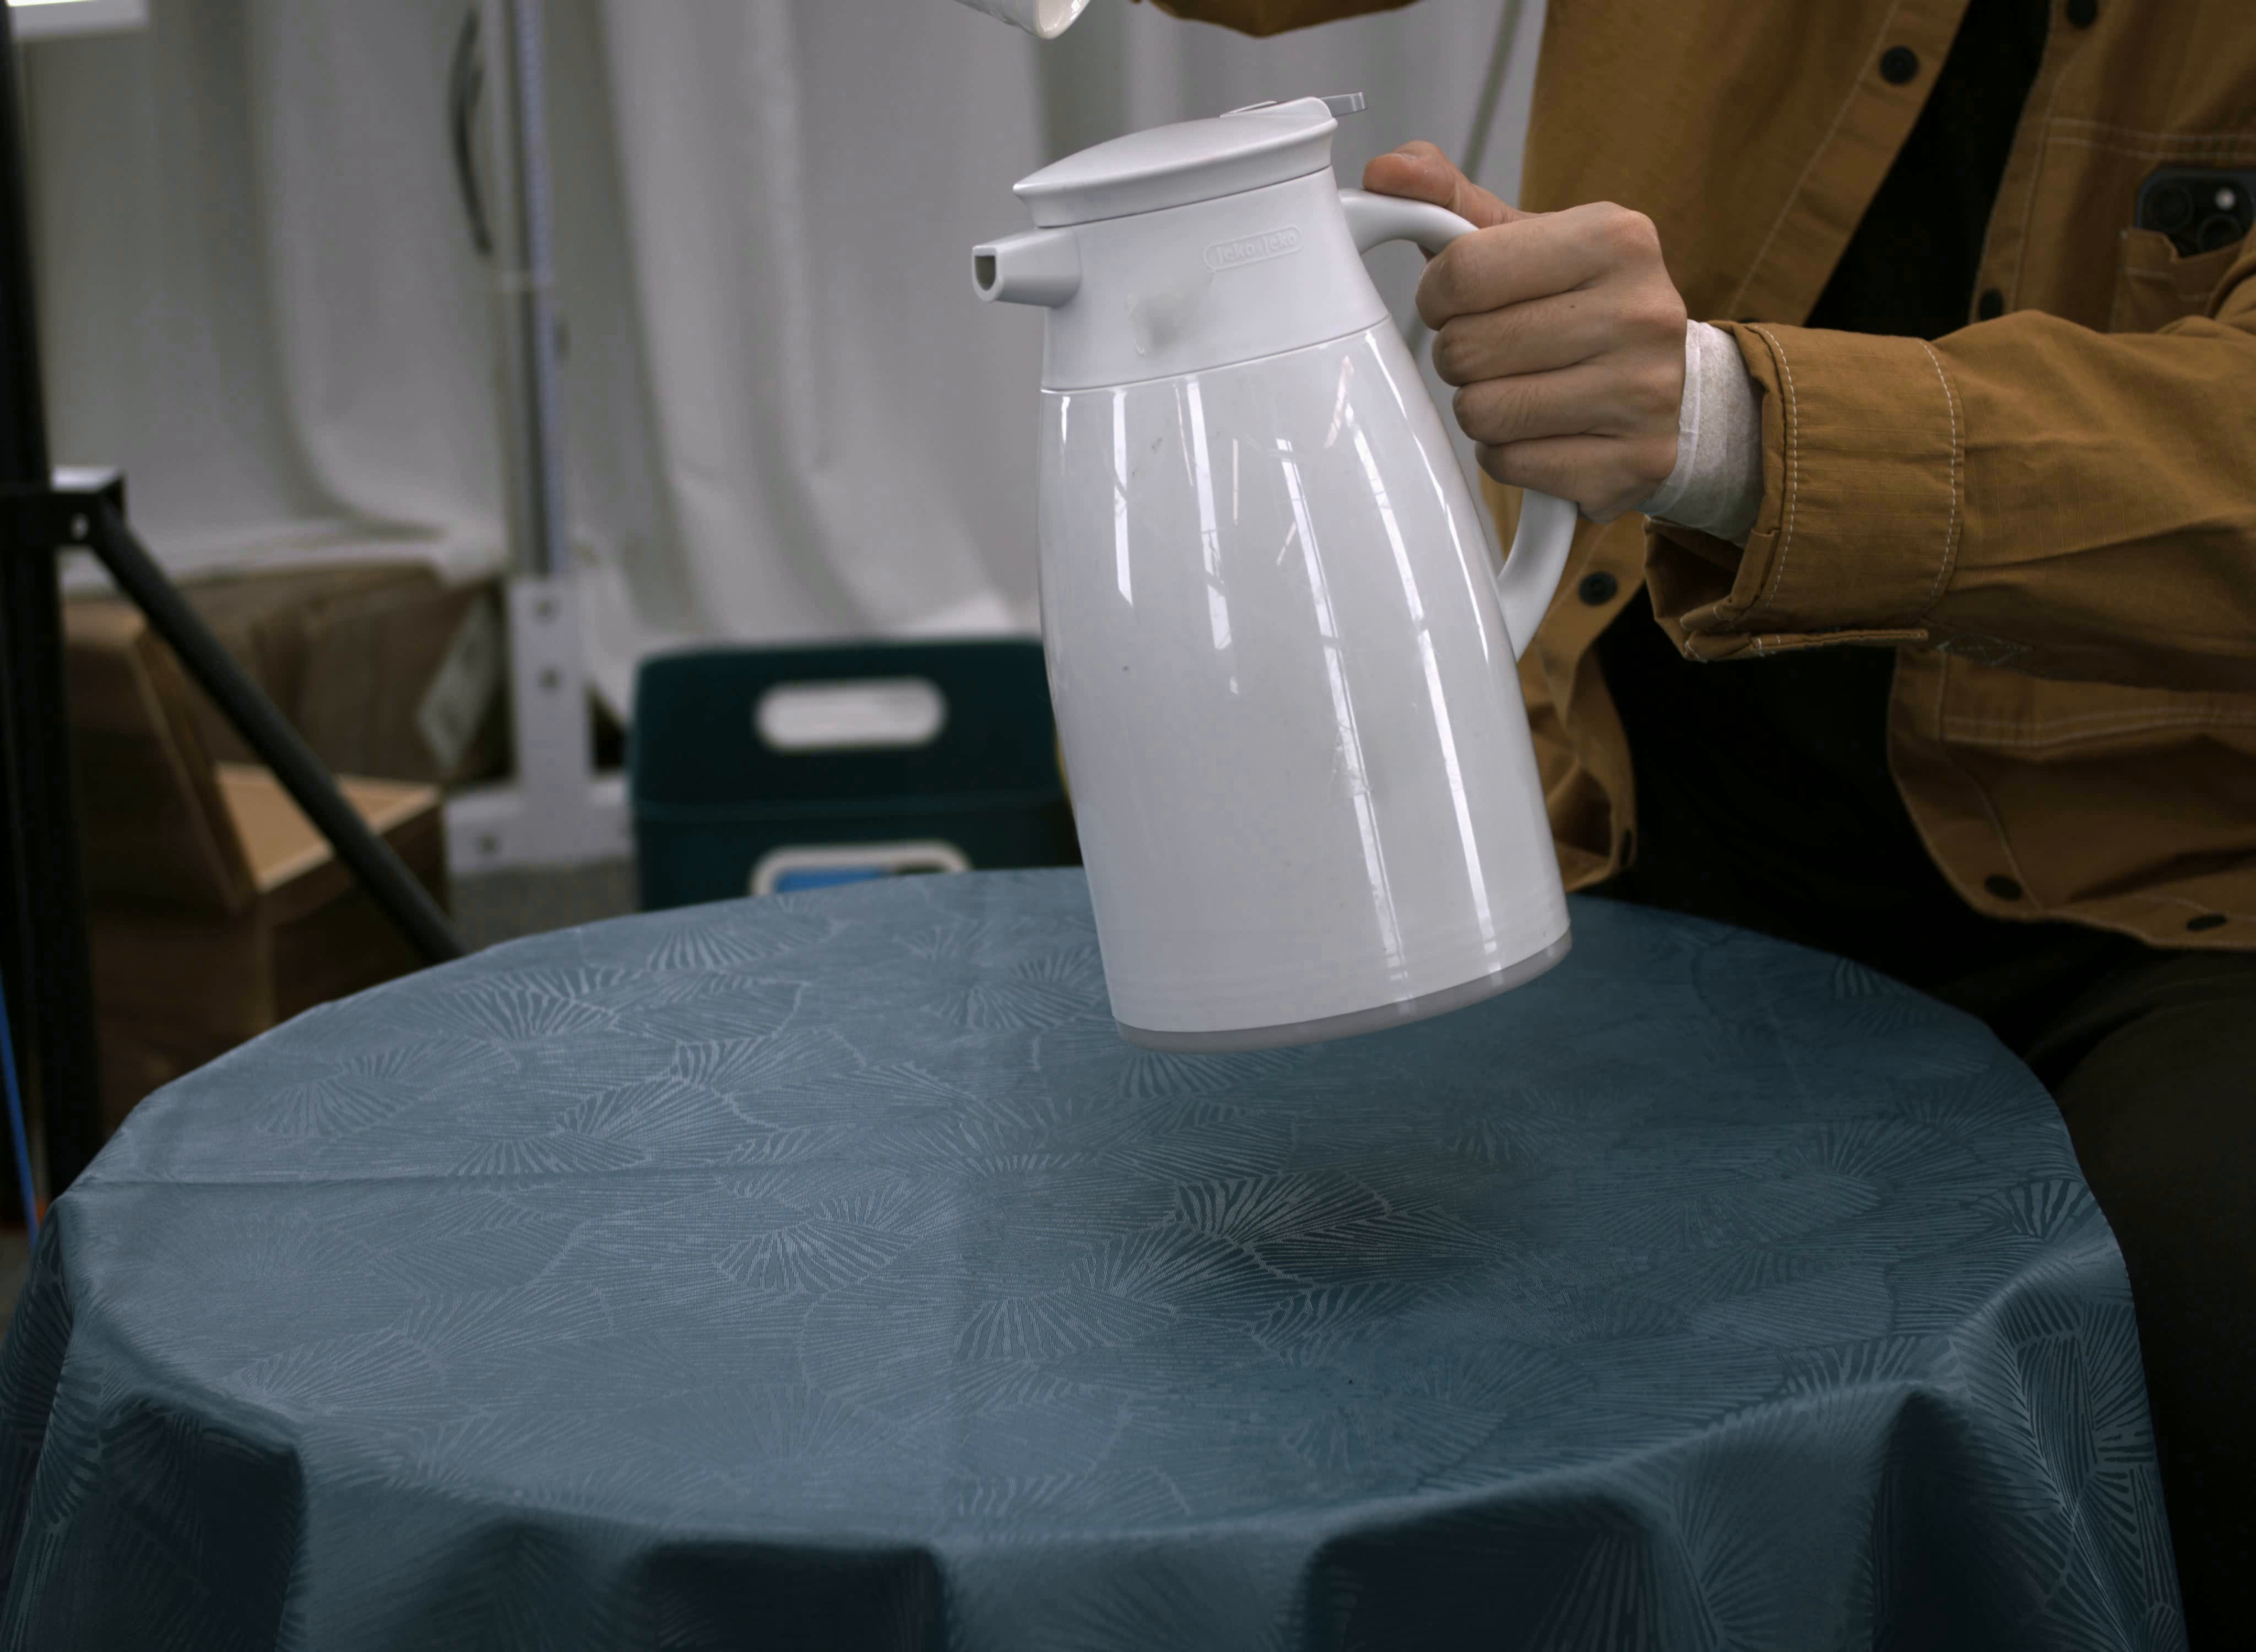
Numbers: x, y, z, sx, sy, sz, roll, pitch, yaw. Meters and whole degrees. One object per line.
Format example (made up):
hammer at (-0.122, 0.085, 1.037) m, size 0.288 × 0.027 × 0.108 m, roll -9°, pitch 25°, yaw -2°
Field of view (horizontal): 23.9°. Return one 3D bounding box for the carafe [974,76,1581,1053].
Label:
carafe at (0.053, -0.079, 1.484) m, size 0.165 × 0.249 × 0.135 m, roll -15°, pitch 9°, yaw -22°

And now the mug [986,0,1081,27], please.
mug at (-0.044, -0.283, 1.465) m, size 0.102 × 0.085 × 0.117 m, roll 24°, pitch 36°, yaw 10°
